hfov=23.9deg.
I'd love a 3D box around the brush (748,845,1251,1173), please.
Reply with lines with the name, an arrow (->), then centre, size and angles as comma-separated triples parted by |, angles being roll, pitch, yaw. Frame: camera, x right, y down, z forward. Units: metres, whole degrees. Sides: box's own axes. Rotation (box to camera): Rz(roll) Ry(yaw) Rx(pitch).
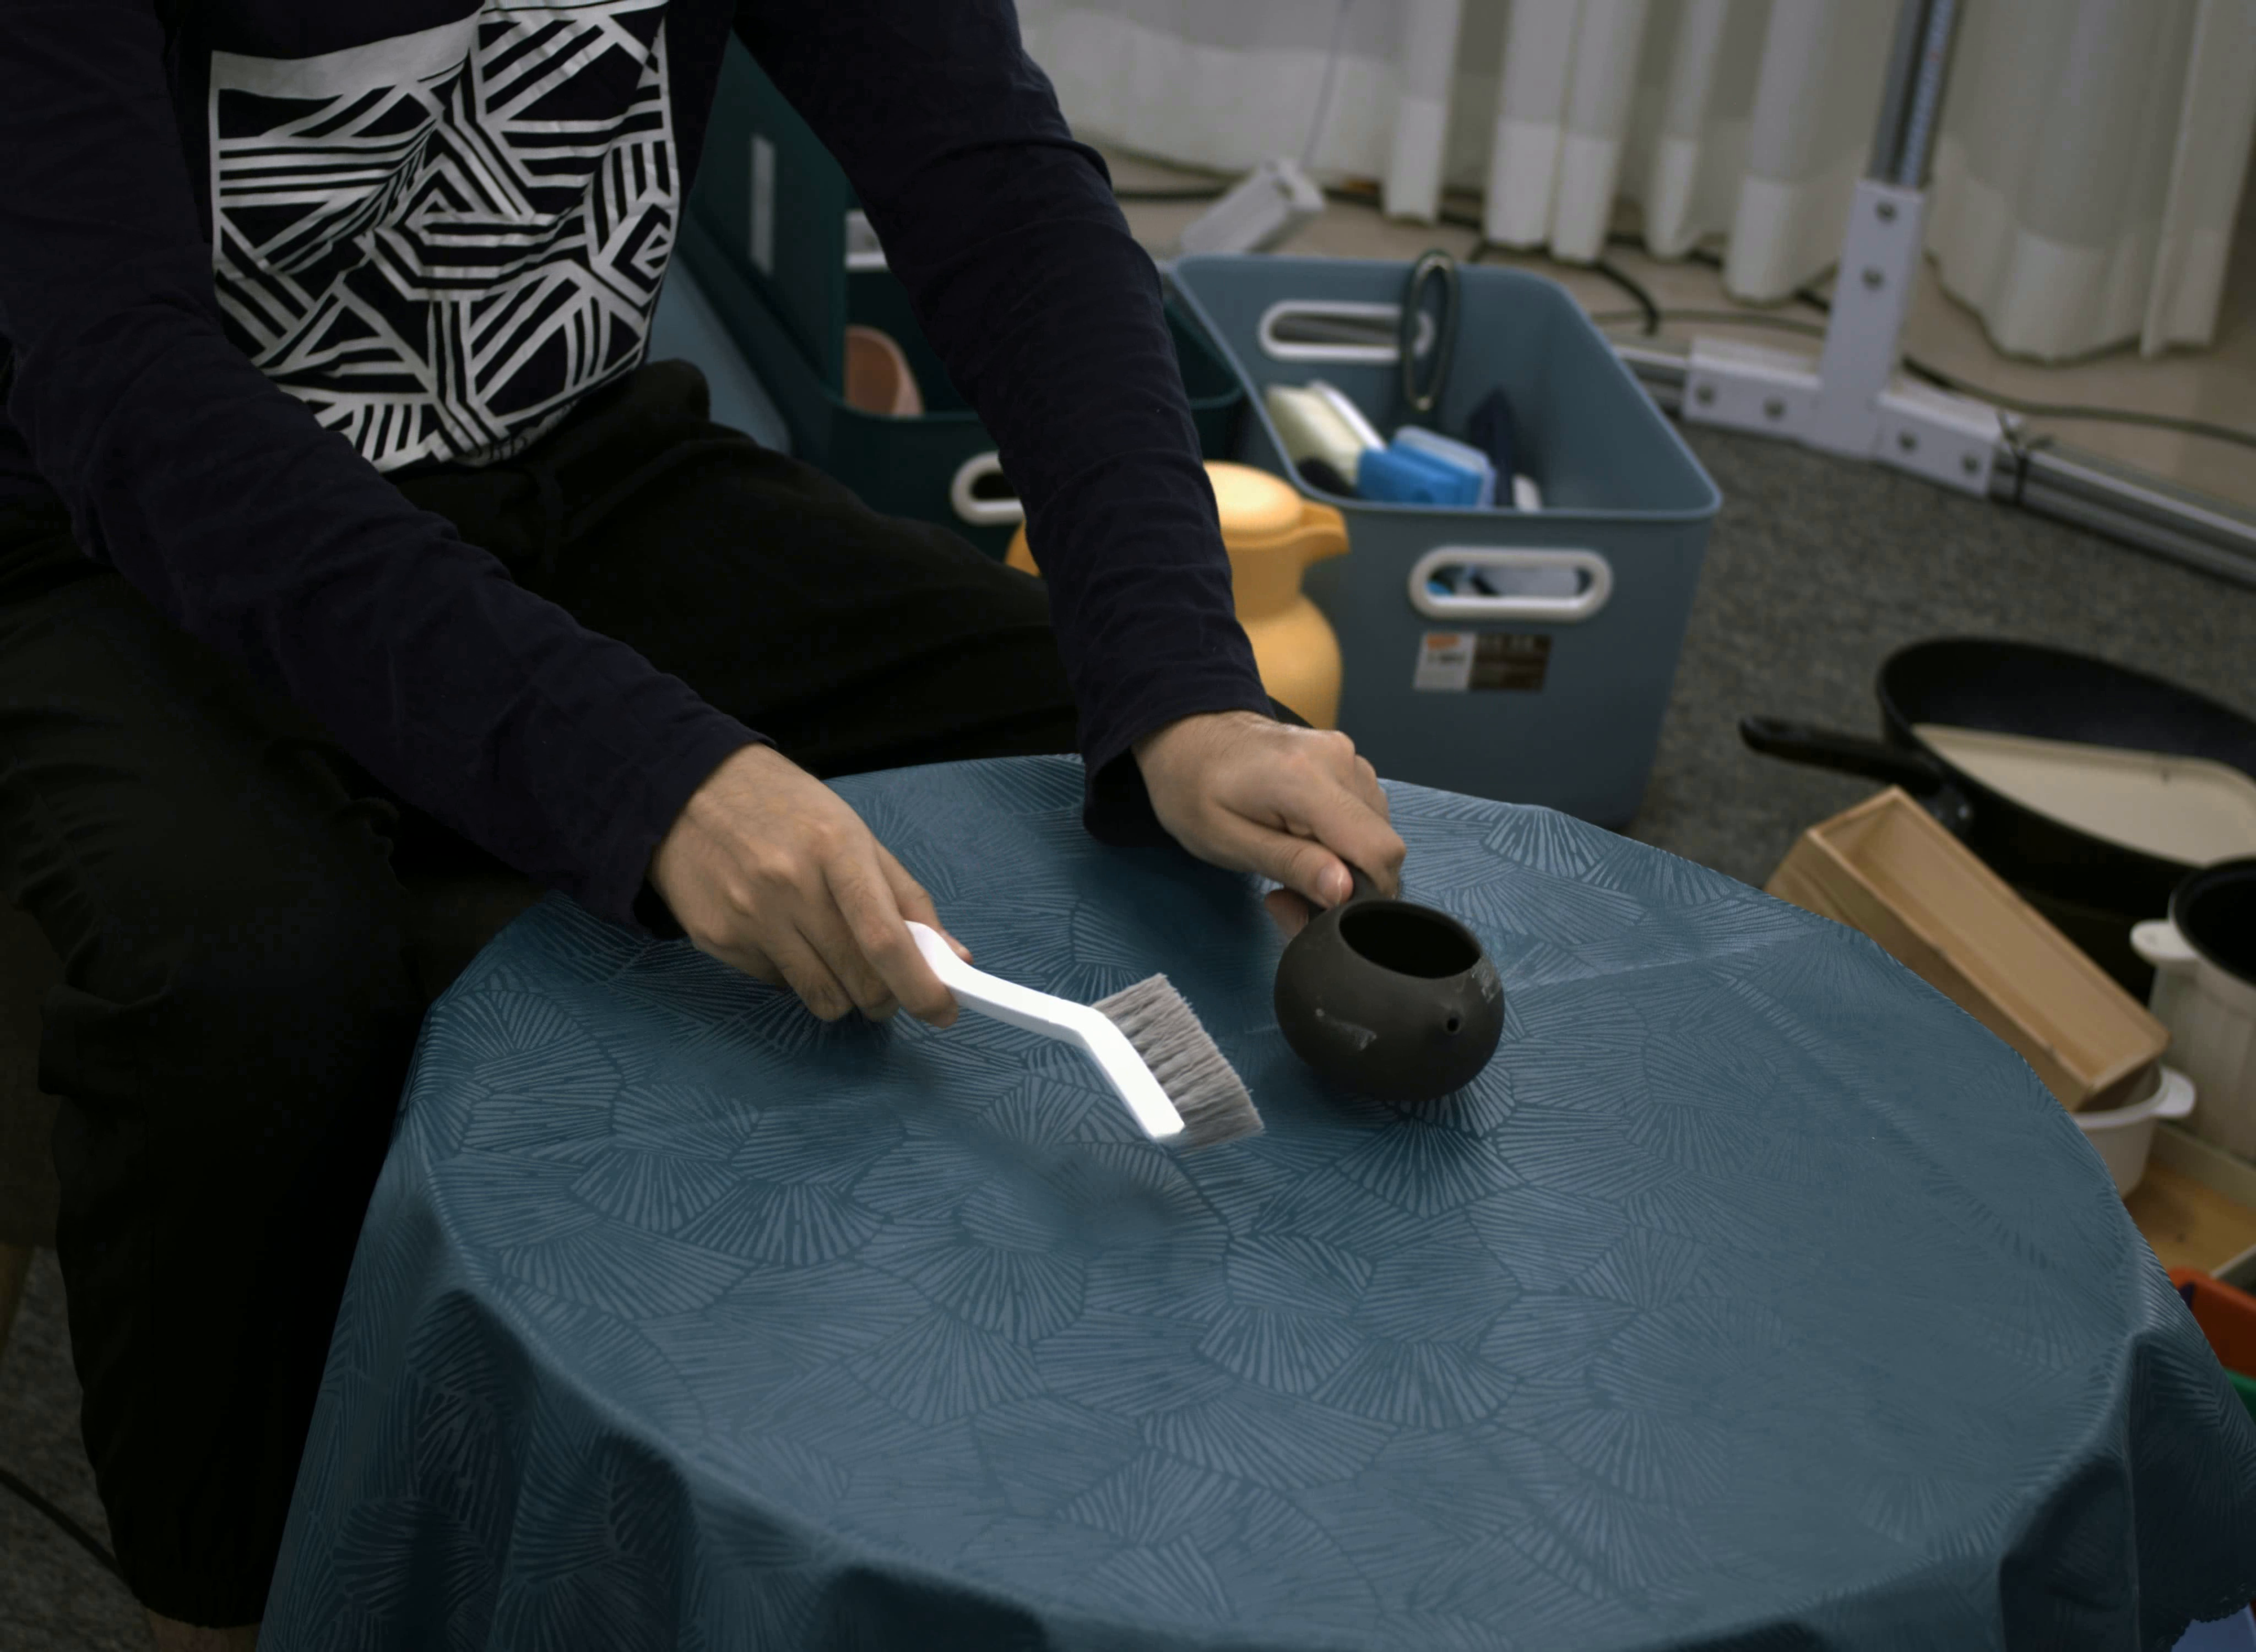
brush -> -0.045, 0.048, 1.848 | 0.050, 0.034, 0.246 | -49, 48, -9

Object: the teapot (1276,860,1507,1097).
teapot -> 0.090, 0.052, 1.886 | 0.082, 0.053, 0.115 | 0, 34, -22
